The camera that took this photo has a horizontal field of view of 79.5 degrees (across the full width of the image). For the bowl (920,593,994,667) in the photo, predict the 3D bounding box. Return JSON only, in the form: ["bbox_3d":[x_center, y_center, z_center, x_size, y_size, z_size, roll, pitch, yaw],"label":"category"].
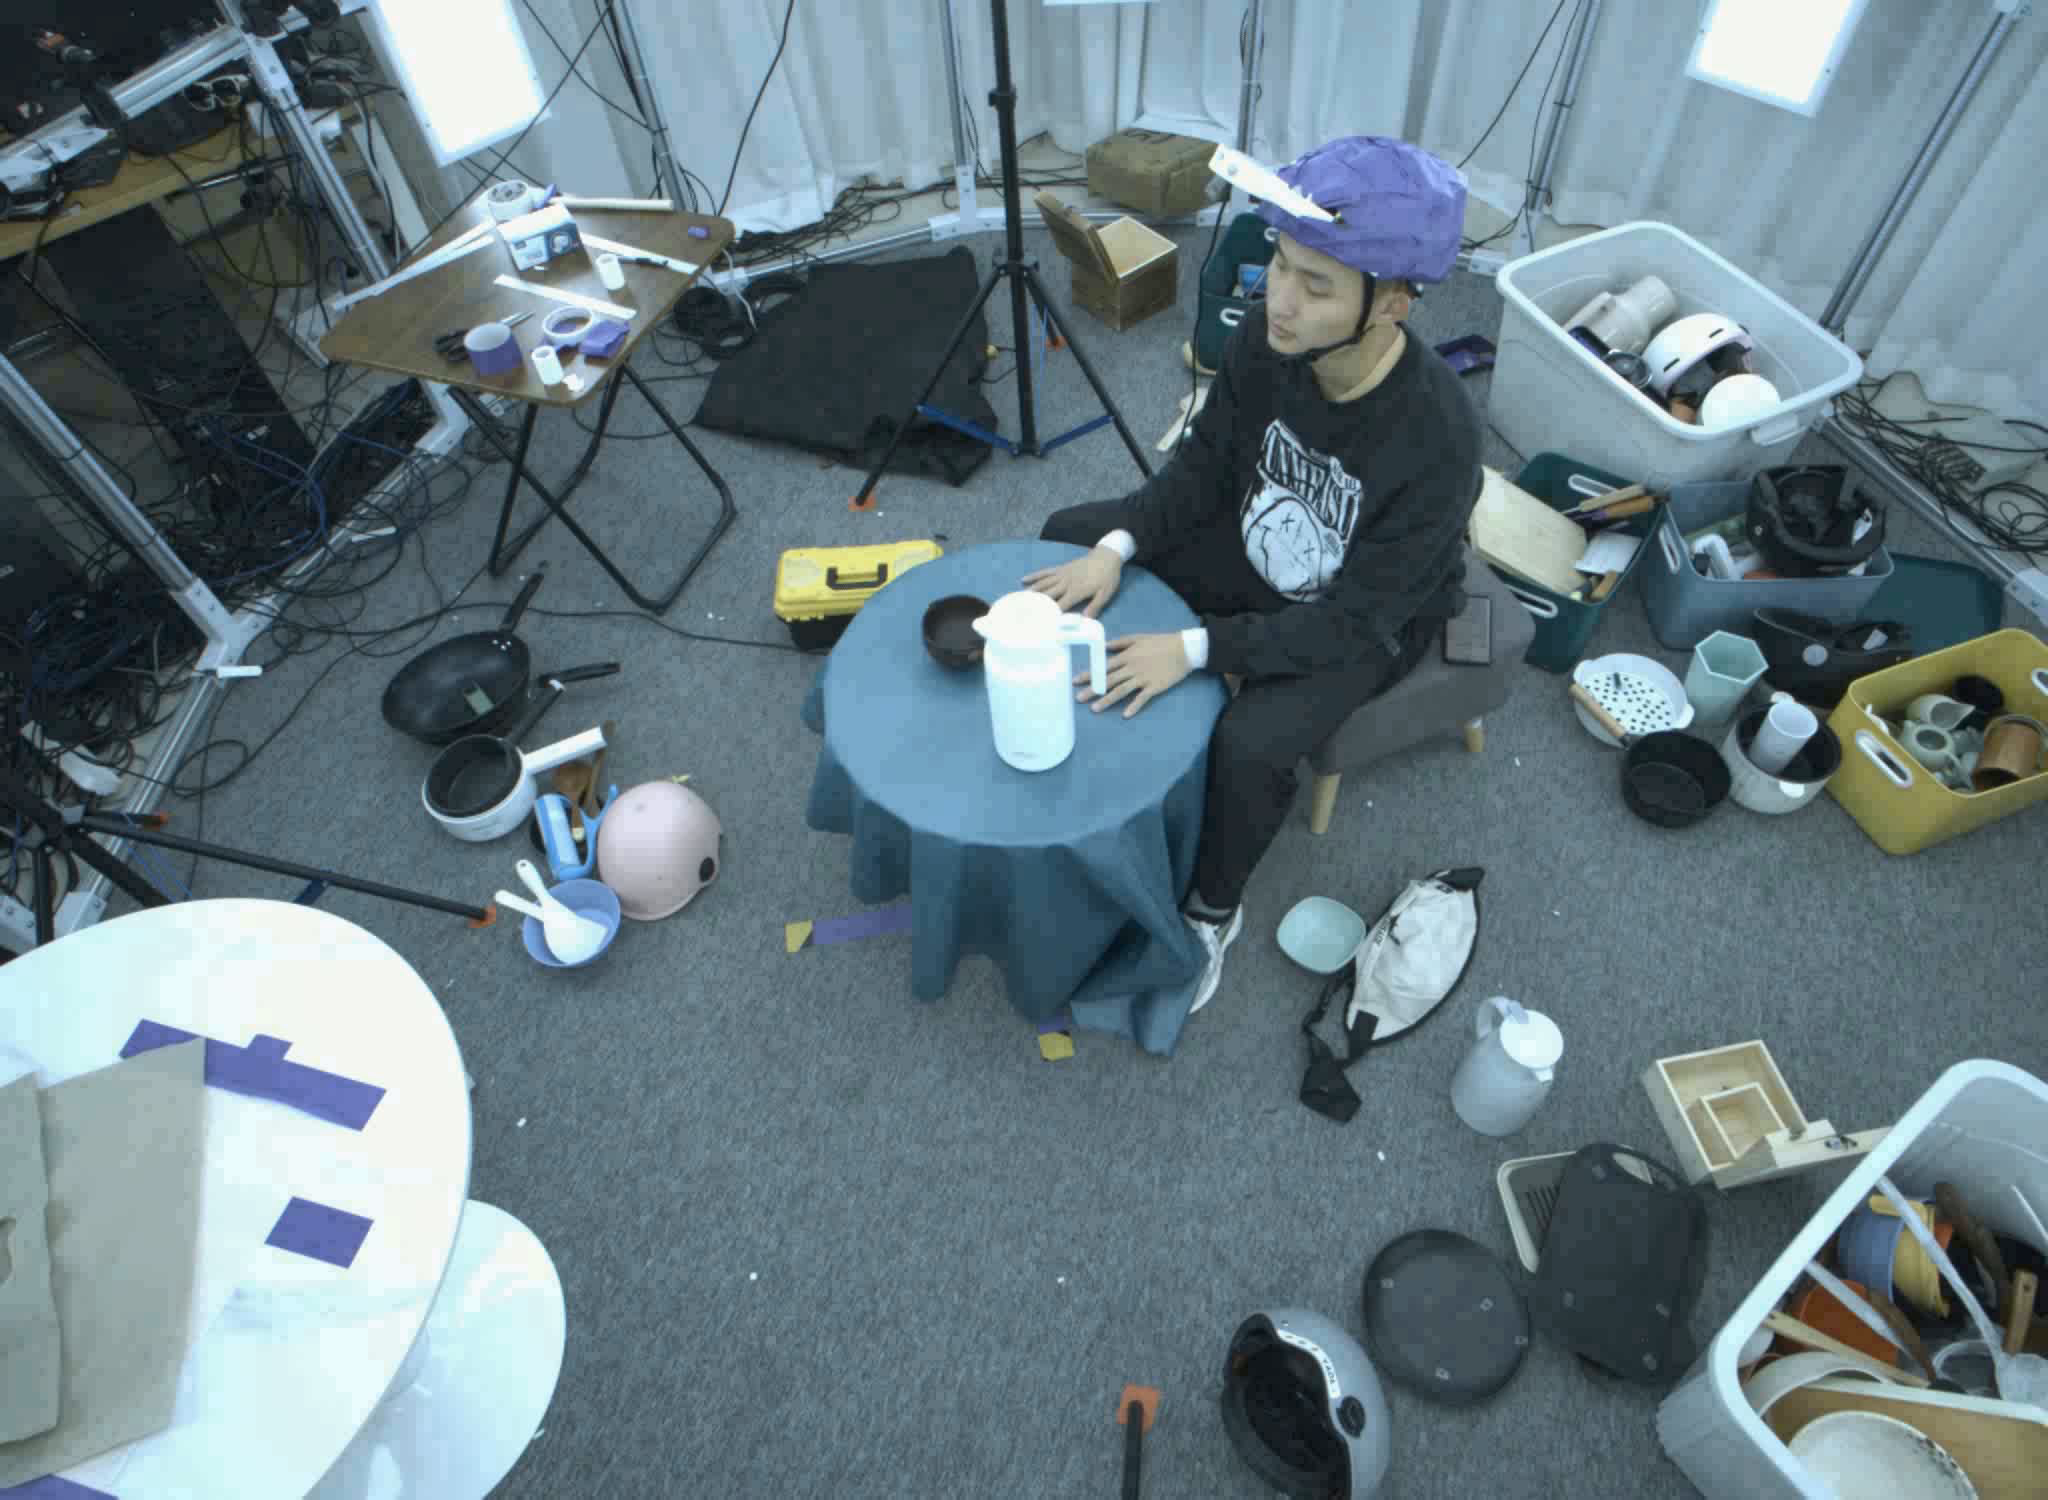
[{"bbox_3d":[-0.098,-0.175,1.866,0.118,0.070,0.117,0,54,2],"label":"bowl"}]

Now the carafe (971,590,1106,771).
[{"bbox_3d":[0.025,-0.093,1.684,0.173,0.272,0.122,-2,52,2],"label":"carafe"}]
